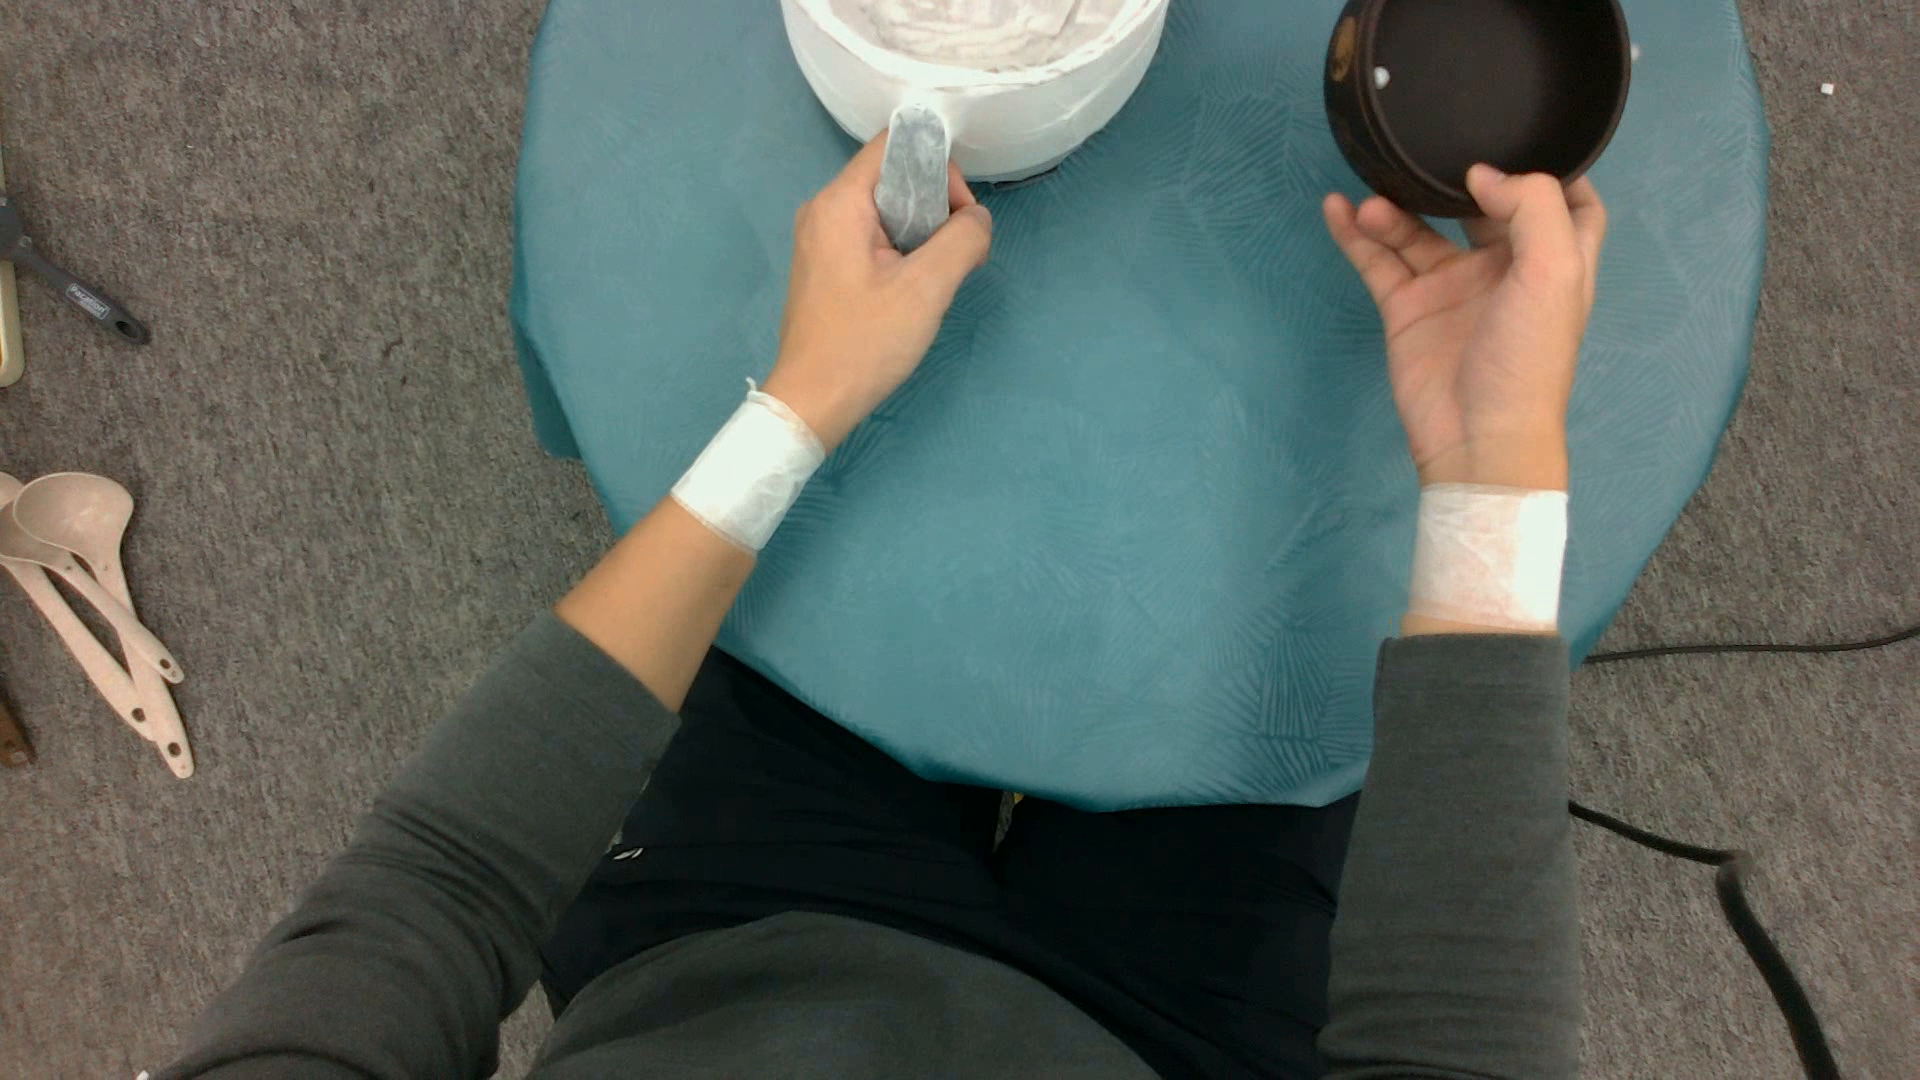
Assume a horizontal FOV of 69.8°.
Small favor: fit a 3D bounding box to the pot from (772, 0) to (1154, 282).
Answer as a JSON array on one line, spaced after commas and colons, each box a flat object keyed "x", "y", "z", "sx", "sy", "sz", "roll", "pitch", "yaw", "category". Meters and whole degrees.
[{"x": -0.004, "y": -0.234, "z": 0.596, "sx": 0.179, "sy": 0.136, "sz": 0.234, "roll": 11, "pitch": 87, "yaw": 0, "category": "pot"}]

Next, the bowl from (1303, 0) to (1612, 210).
[{"x": 0.196, "y": -0.194, "z": 0.567, "sx": 0.118, "sy": 0.070, "sz": 0.118, "roll": -1, "pitch": 96, "yaw": -10, "category": "bowl"}]
